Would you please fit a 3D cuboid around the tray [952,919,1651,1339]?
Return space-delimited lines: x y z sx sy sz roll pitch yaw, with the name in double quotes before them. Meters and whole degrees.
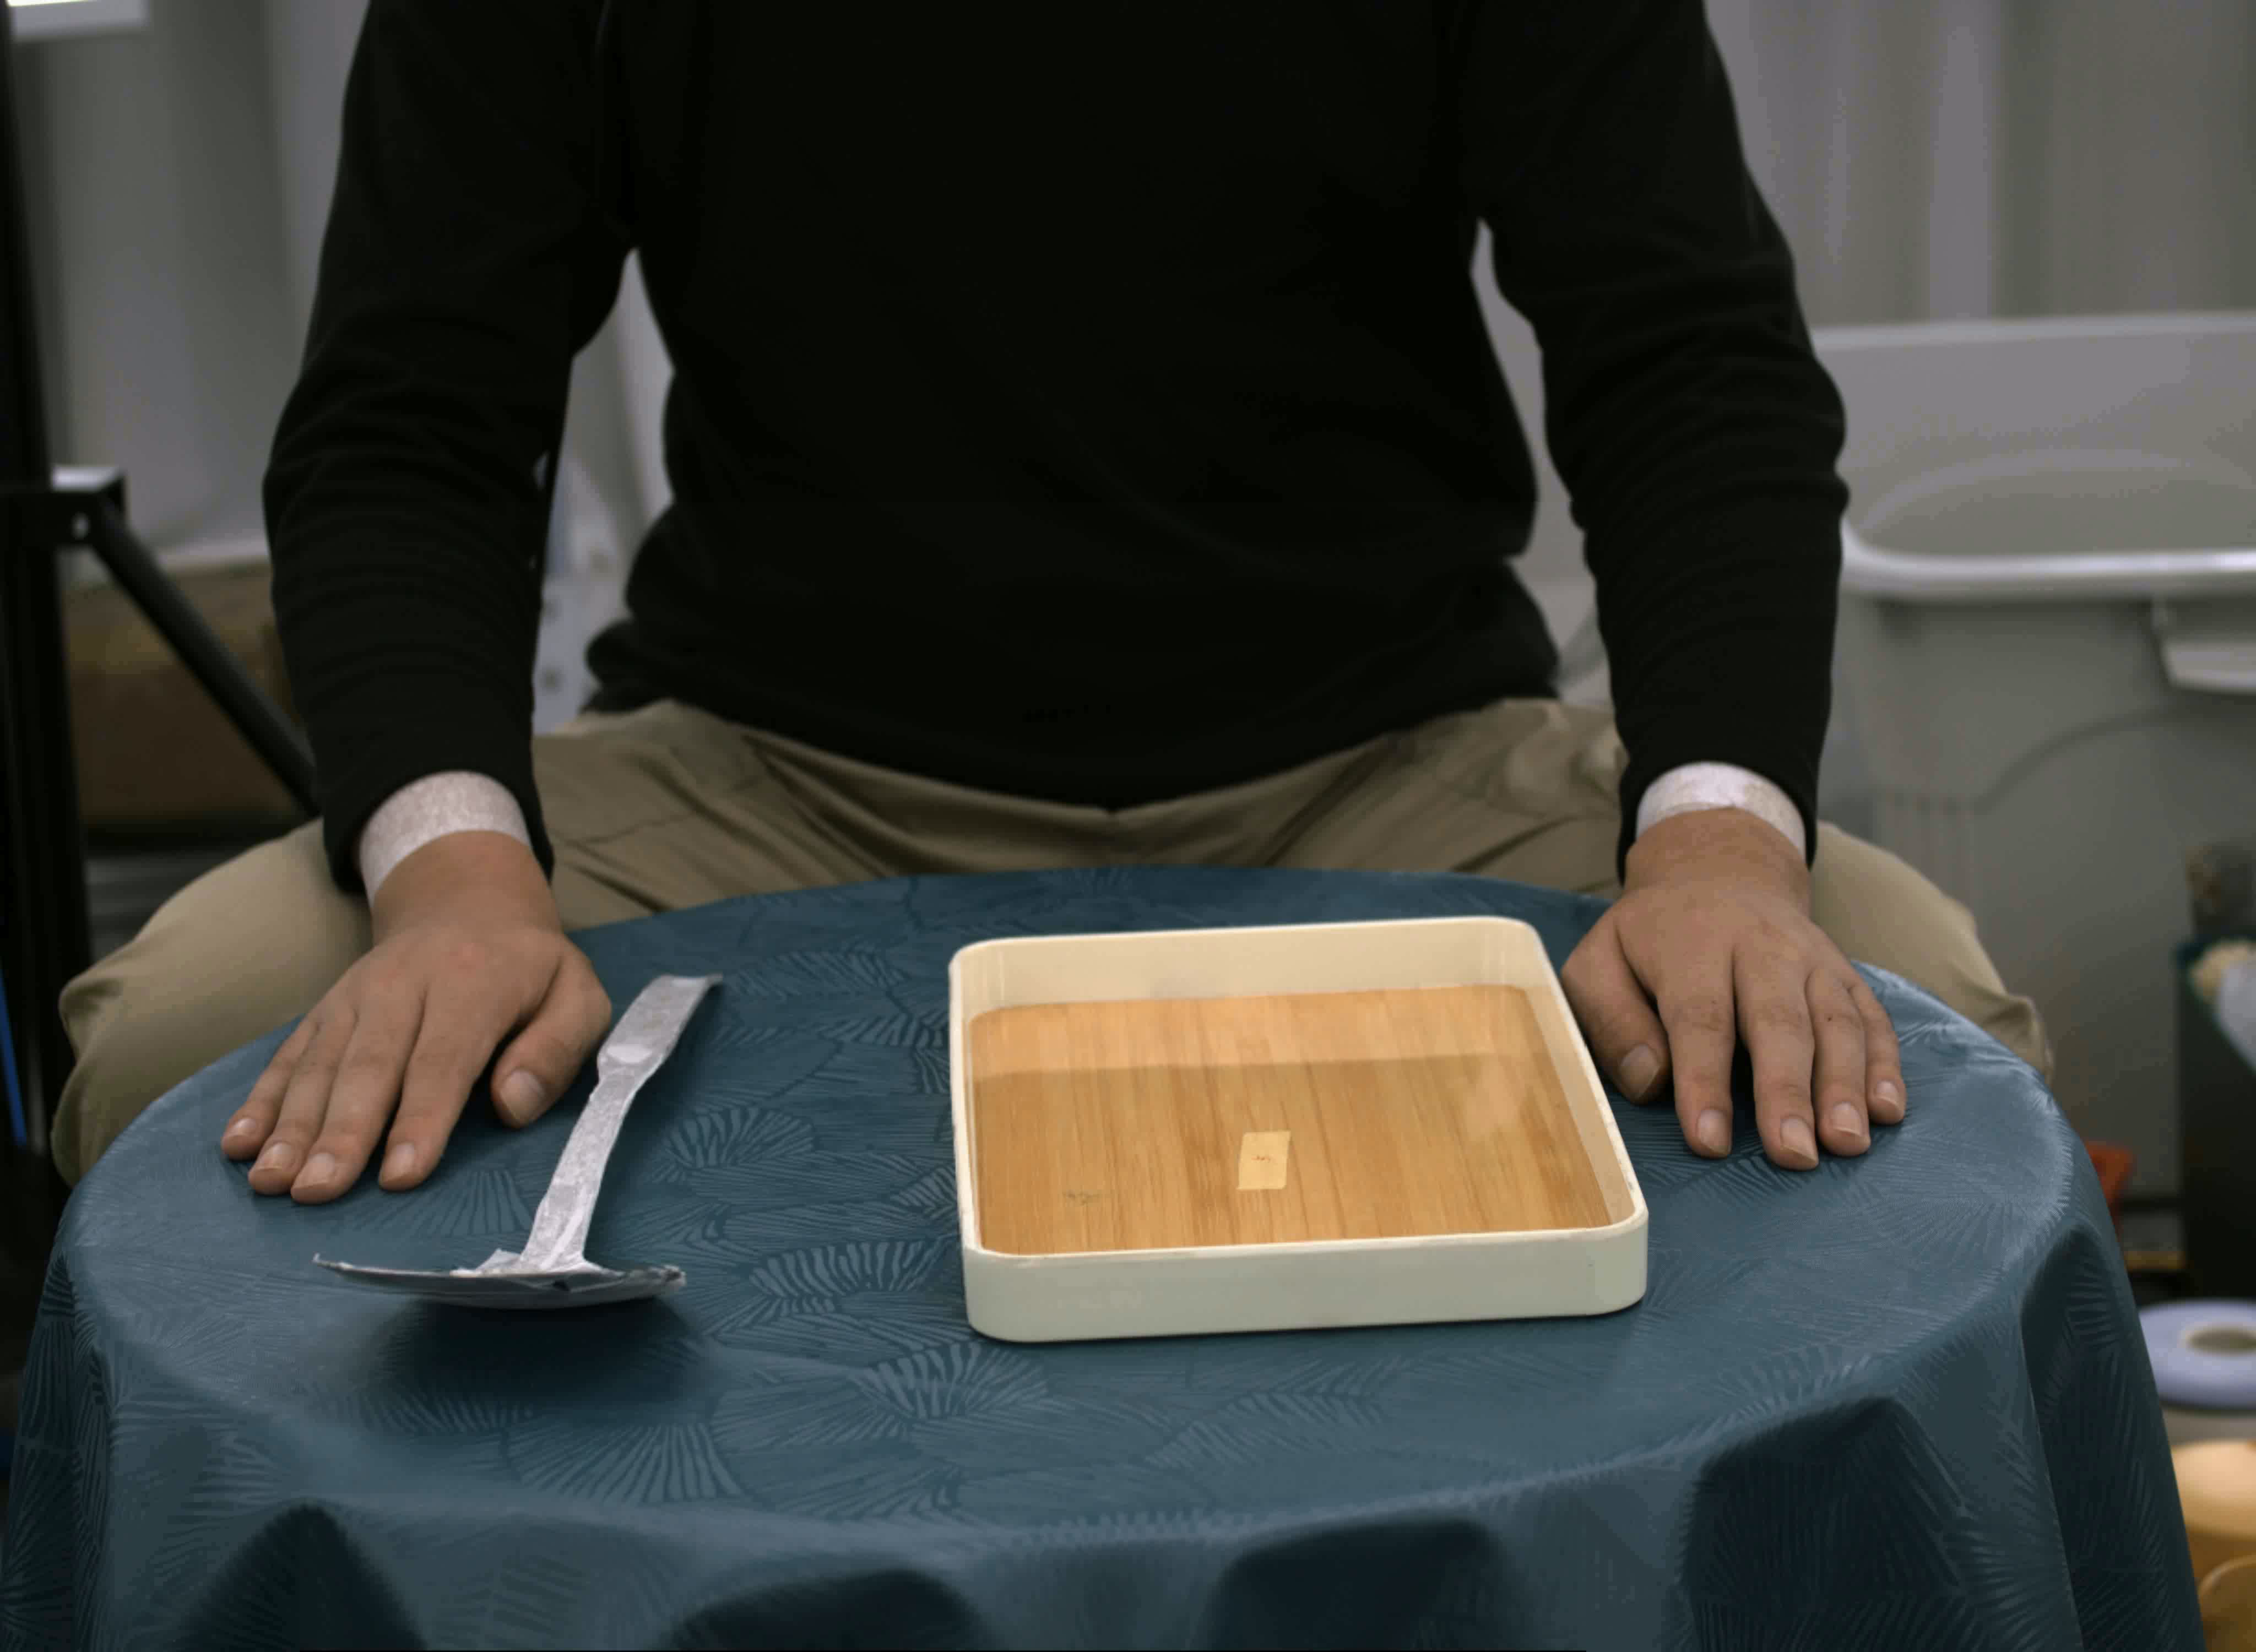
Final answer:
"tray" 0.044 0.086 1.579 0.190 0.027 0.302 -3 16 -1

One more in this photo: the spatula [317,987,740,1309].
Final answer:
"spatula" -0.156 0.087 1.588 0.099 0.045 0.365 -2 16 6
